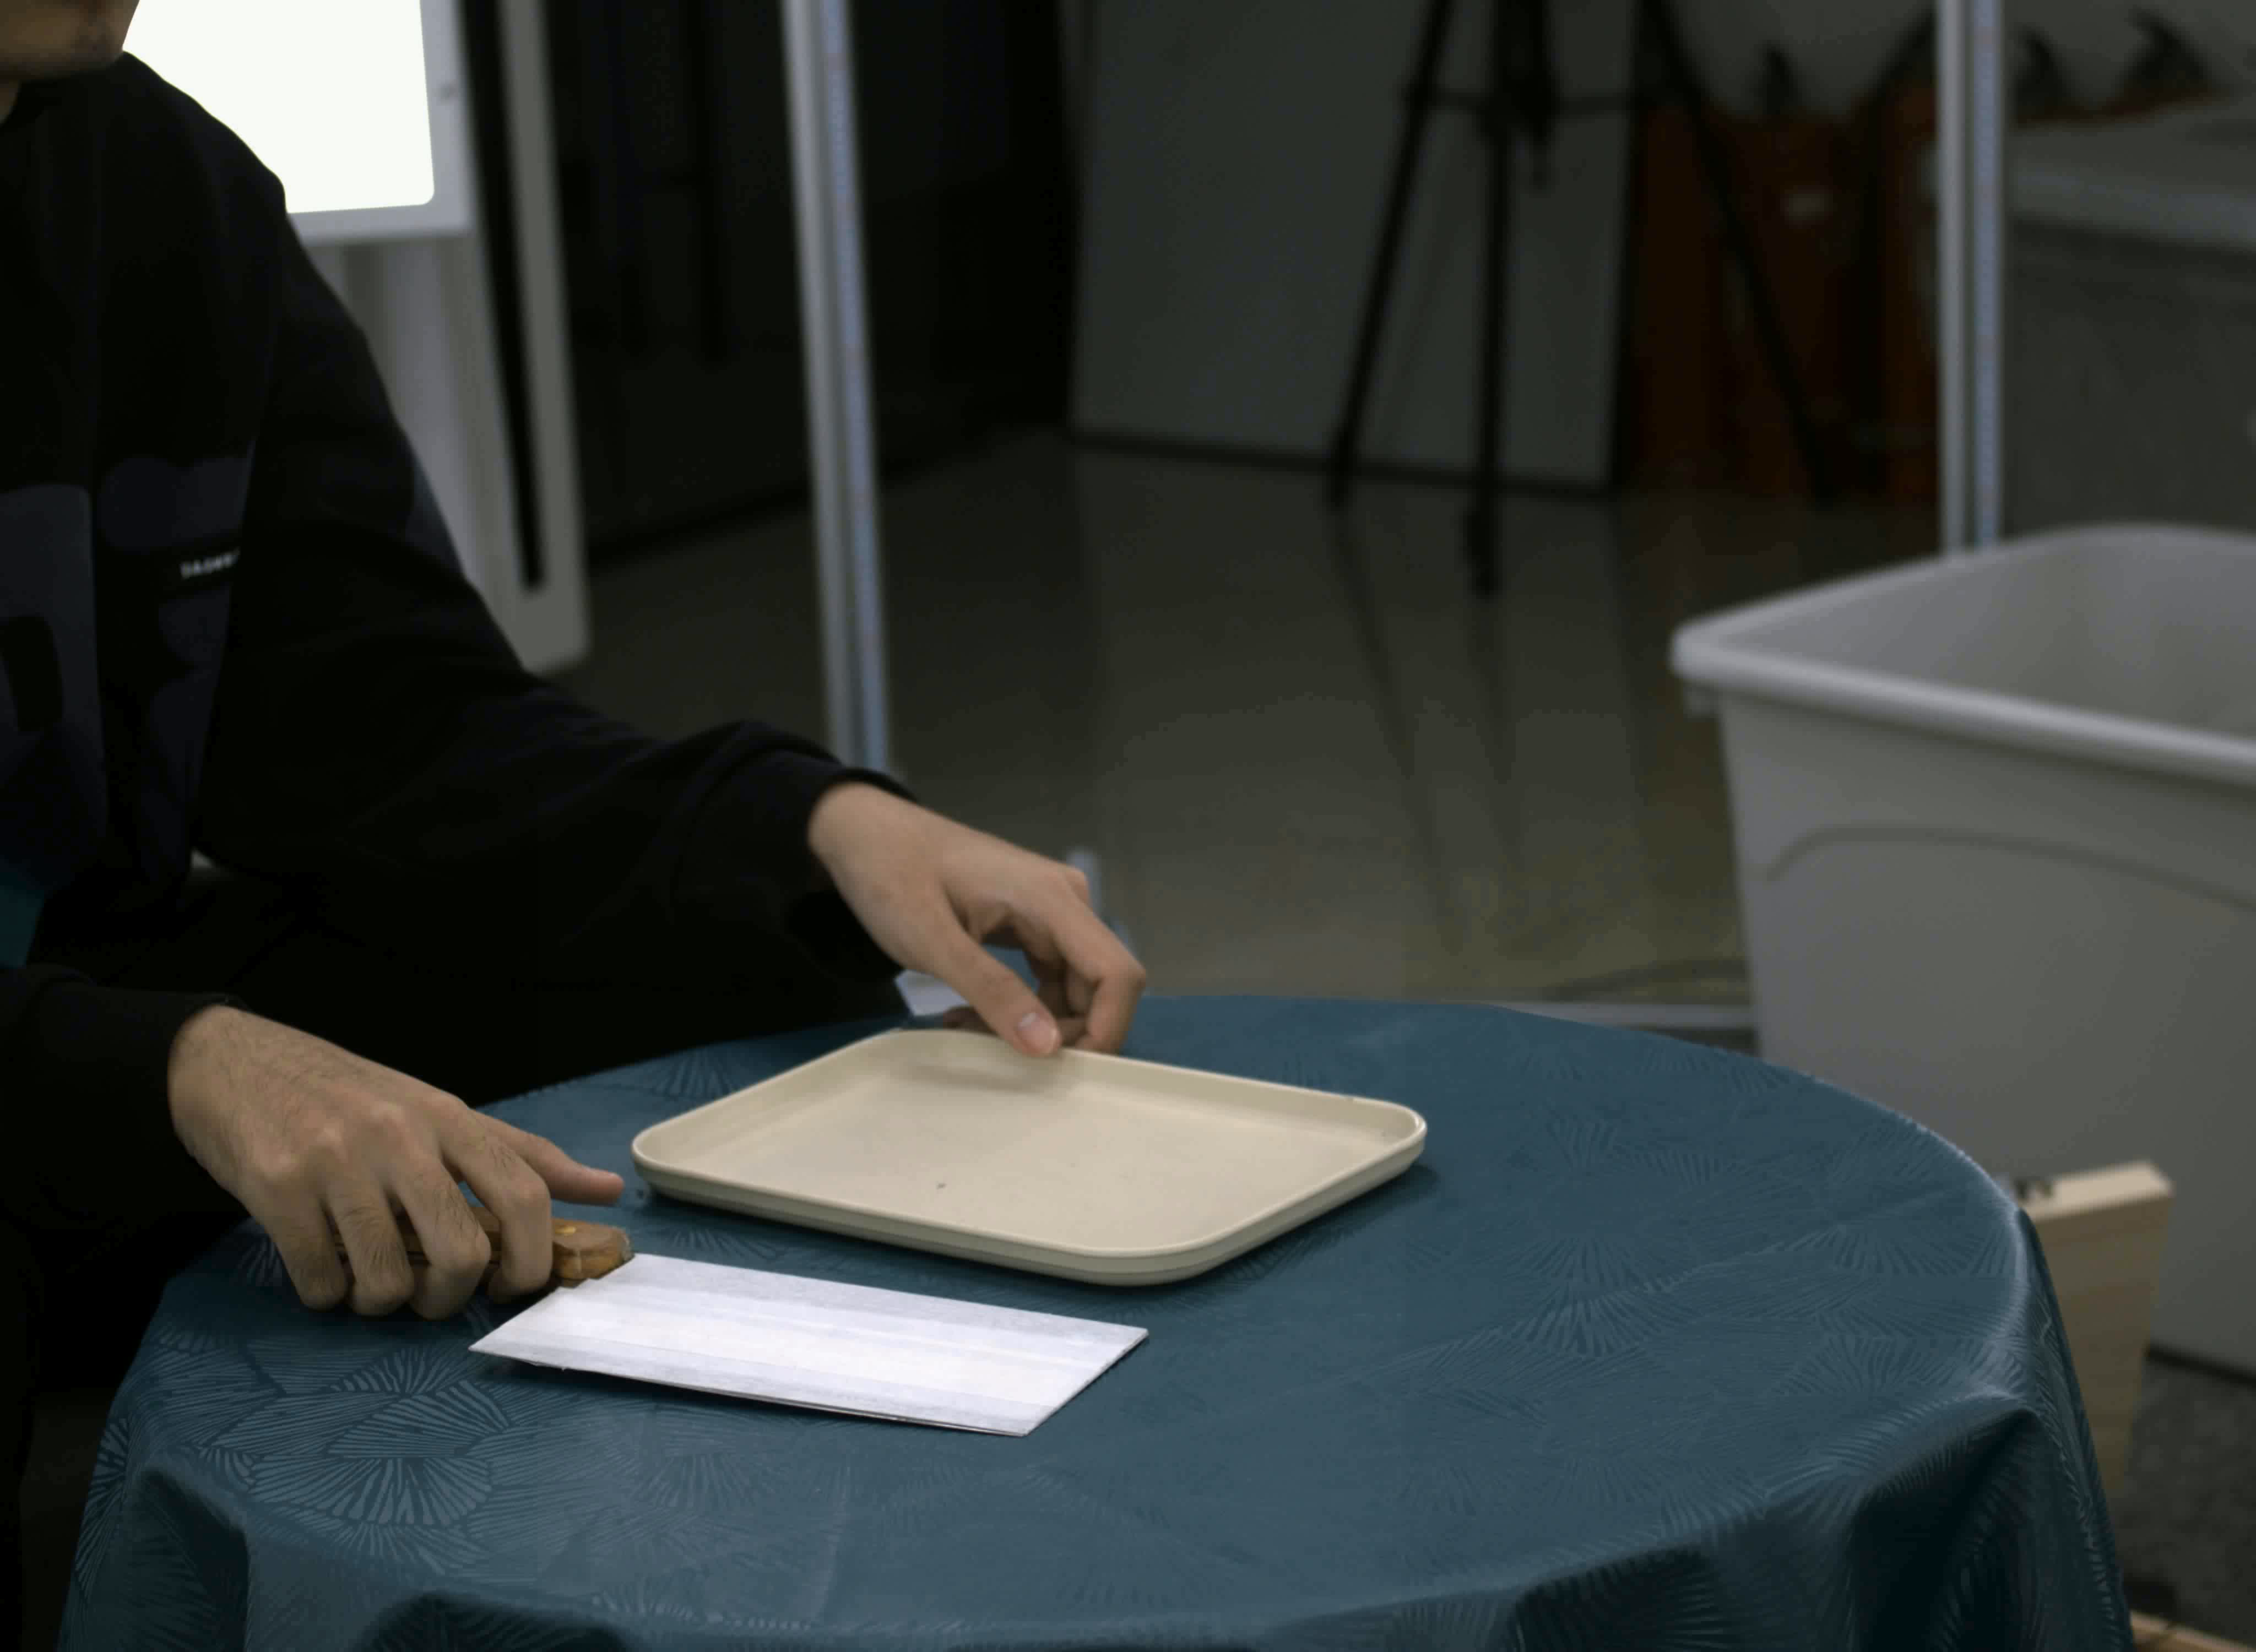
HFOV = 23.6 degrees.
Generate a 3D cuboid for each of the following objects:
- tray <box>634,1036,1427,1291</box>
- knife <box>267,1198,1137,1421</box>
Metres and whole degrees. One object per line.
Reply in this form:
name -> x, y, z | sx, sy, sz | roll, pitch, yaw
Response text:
tray -> -0.032, 0.111, 1.784 | 0.241, 0.017, 0.168 | 7, 18, 38
knife -> -0.146, 0.151, 1.660 | 0.306, 0.021, 0.092 | 5, 18, 26
